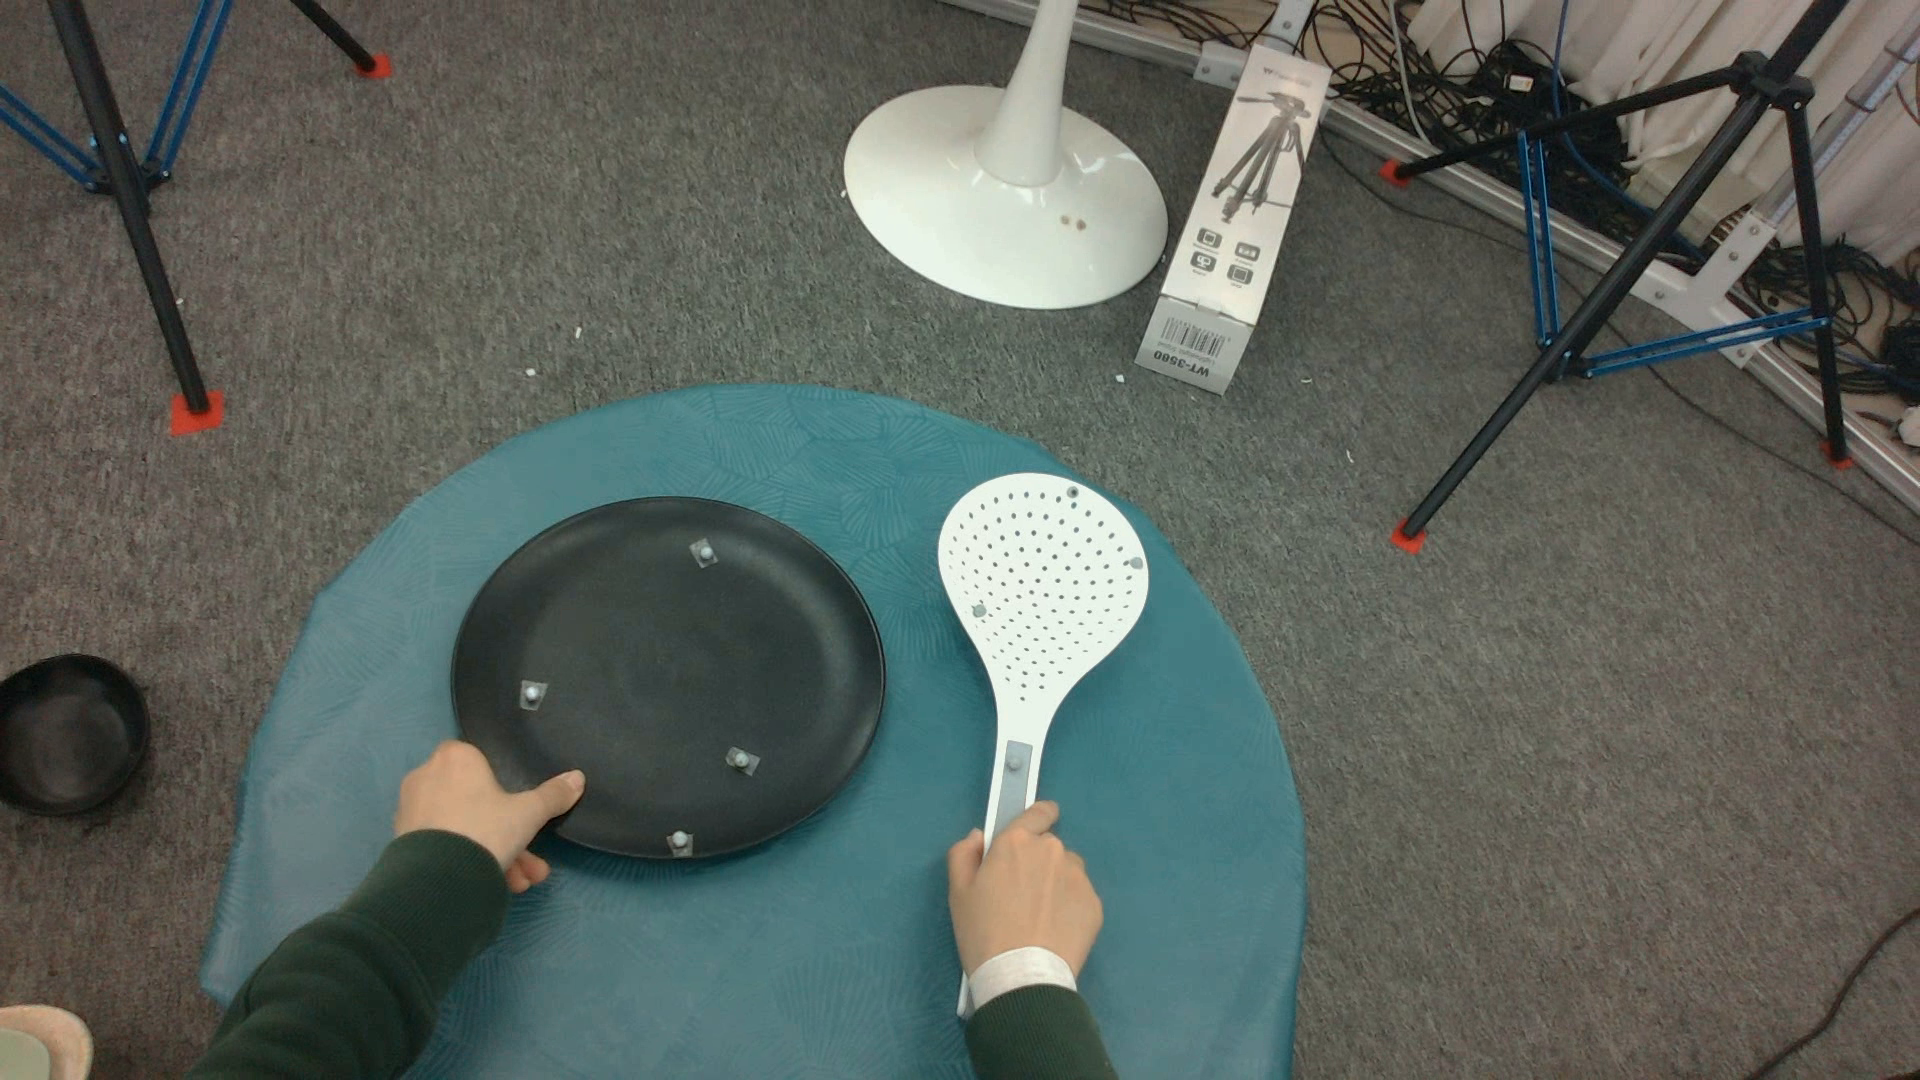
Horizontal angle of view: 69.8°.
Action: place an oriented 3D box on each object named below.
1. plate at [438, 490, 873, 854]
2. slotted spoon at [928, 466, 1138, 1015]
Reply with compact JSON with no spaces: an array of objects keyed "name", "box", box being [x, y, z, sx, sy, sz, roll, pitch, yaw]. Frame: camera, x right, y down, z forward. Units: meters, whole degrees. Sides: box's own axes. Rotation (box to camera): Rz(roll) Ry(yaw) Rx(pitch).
[{"name":"plate","box":[-0.172,0.072,0.799,0.244,0.023,0.245,8,52,-10]},{"name":"slotted spoon","box":[0.029,0.103,0.816,0.136,0.045,0.351,12,52,-3]}]
